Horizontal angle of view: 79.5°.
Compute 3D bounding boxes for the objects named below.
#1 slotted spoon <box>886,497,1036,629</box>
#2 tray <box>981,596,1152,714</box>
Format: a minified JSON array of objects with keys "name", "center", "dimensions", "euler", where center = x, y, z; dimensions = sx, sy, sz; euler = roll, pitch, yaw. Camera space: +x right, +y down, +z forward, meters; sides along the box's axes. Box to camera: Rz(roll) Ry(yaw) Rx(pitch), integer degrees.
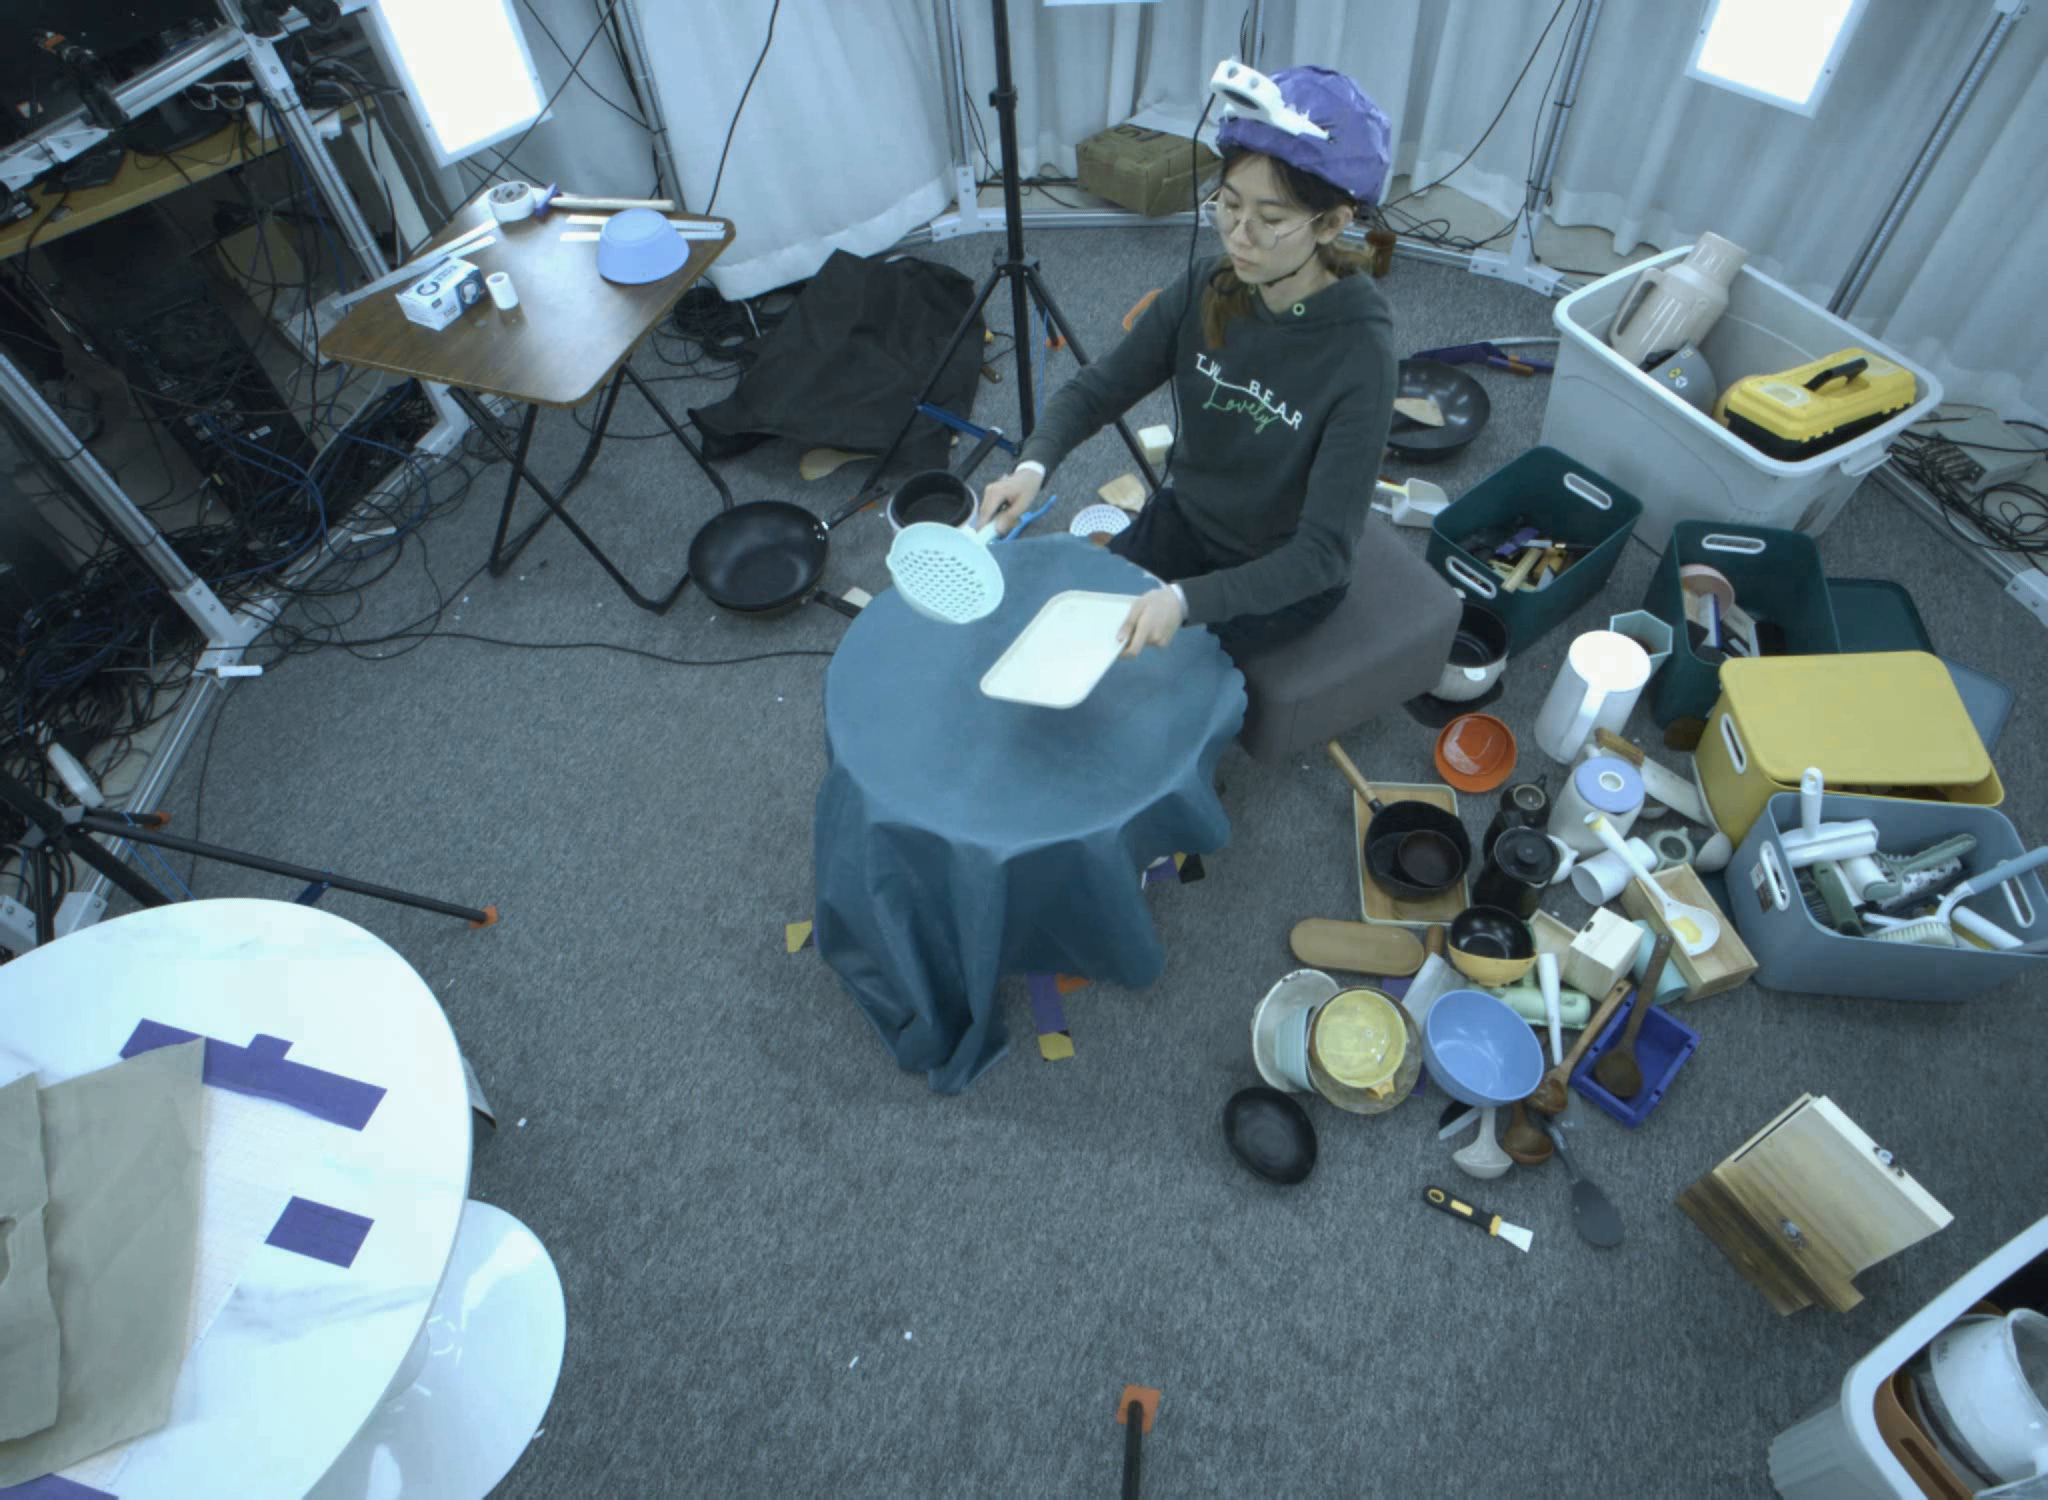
[{"name":"slotted spoon","center":[-0.066,-0.292,1.766],"dimensions":[0.170,0.075,0.360],"euler":[41,54,-3]},{"name":"tray","center":[0.061,-0.132,1.697],"dimensions":[0.168,0.018,0.240],"euler":[11,47,33]}]
